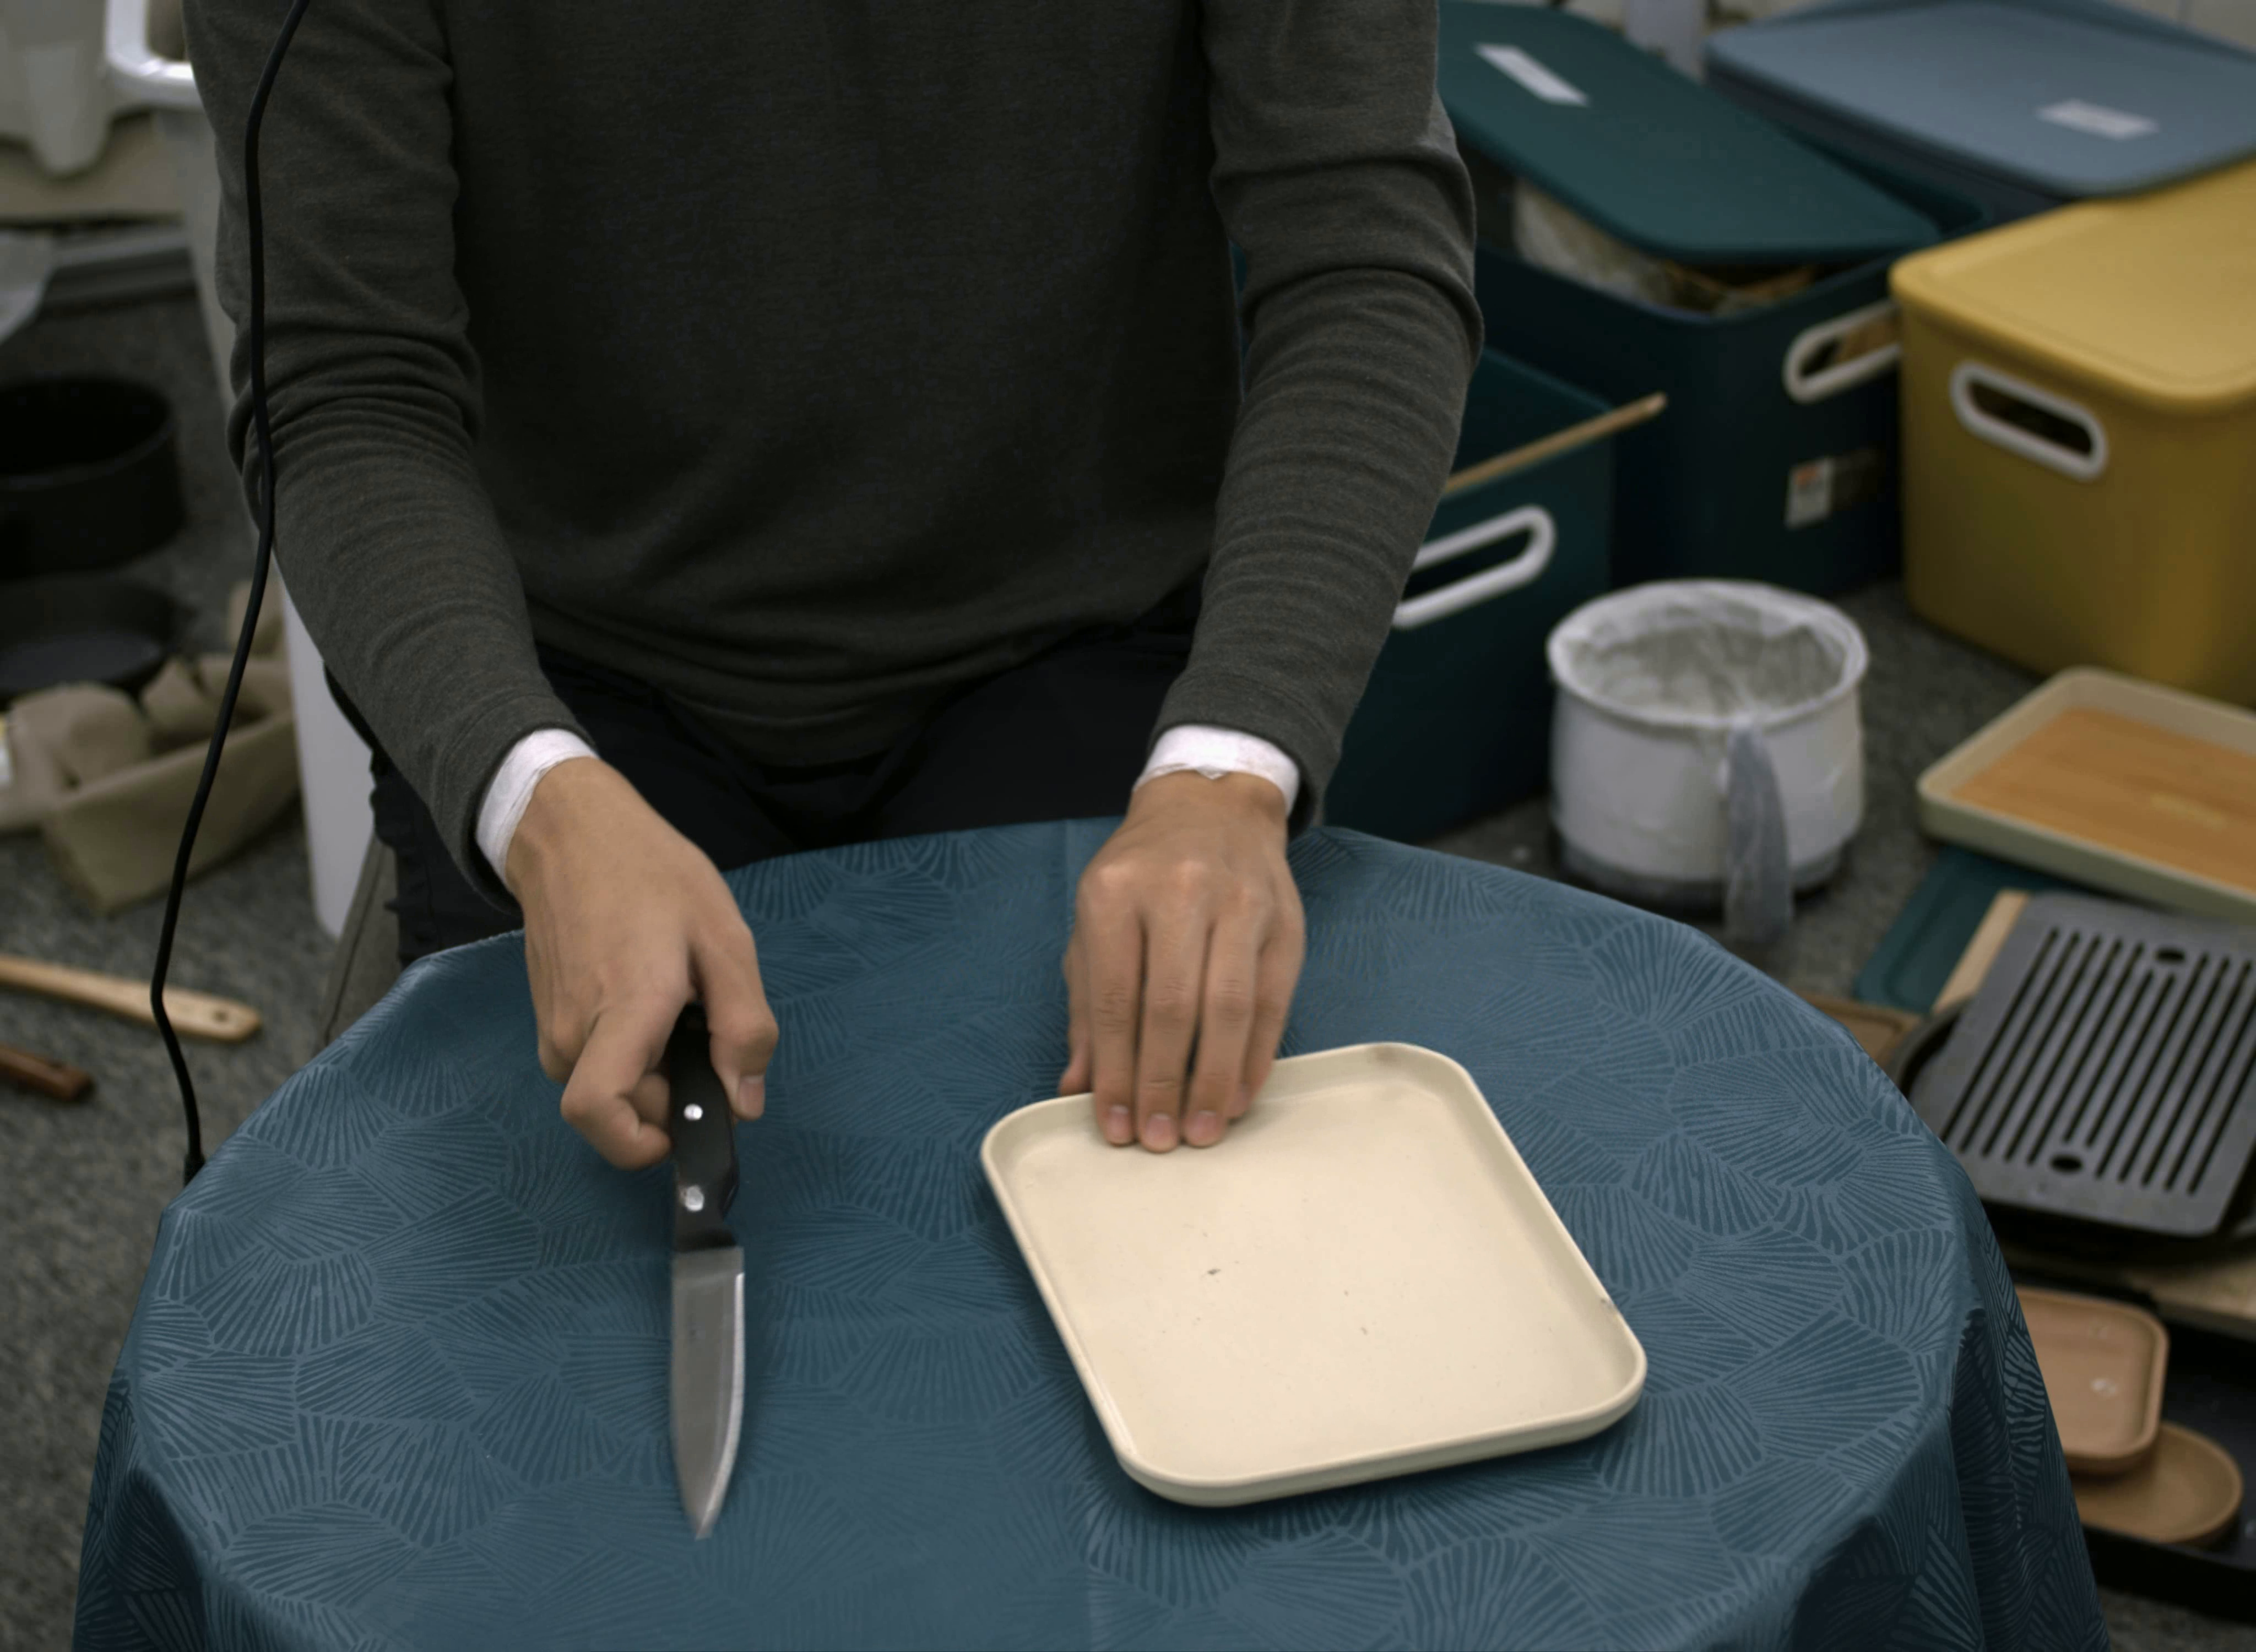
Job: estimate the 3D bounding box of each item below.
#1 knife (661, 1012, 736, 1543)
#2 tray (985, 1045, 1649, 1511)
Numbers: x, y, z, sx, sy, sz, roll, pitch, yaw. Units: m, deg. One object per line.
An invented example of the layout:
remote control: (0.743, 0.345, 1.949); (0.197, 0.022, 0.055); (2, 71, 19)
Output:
knife: (-0.137, 0.142, 1.784); (0.024, 0.016, 0.242); (-5, 39, 0)
tray: (0.056, 0.143, 1.796); (0.171, 0.017, 0.242); (-9, 28, -11)
